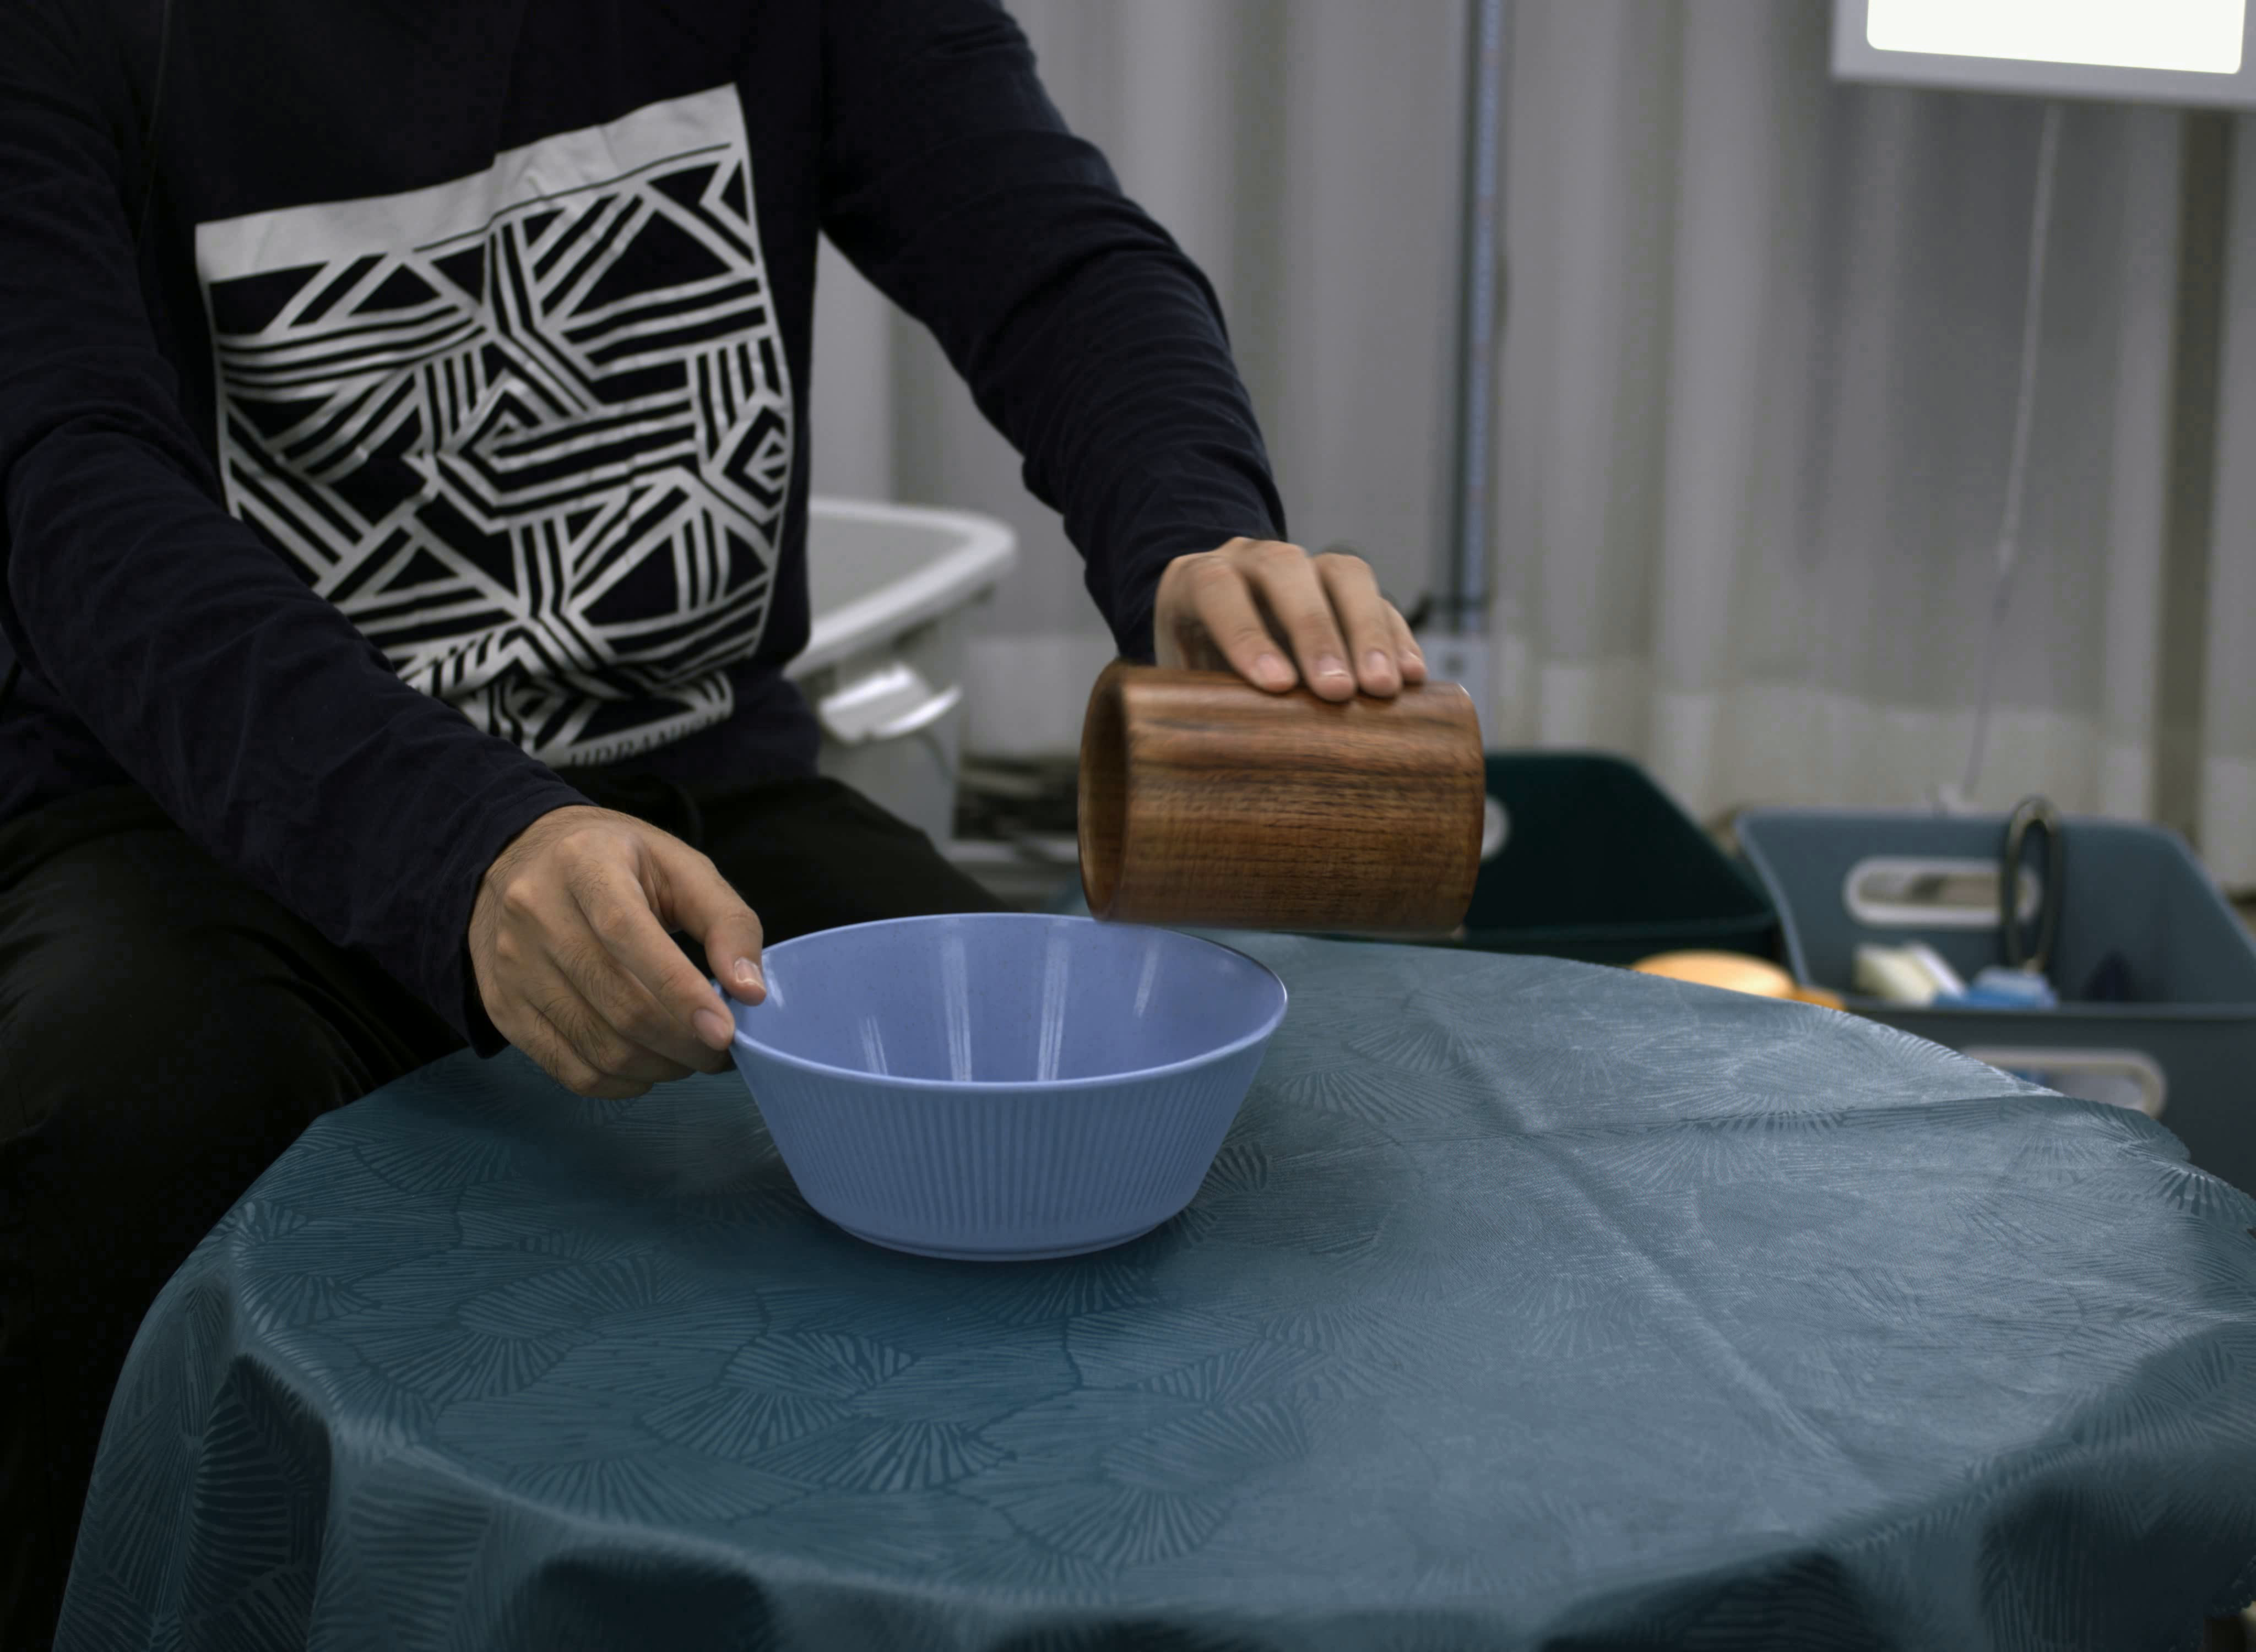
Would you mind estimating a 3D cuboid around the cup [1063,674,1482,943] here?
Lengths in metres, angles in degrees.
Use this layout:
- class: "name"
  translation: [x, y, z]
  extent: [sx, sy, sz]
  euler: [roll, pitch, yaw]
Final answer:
- class: "cup"
  translation: [0.043, -0.004, 1.621]
  extent: [0.118, 0.088, 0.087]
  euler: [1, 16, -10]

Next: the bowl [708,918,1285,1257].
- class: "bowl"
  translation: [-0.040, 0.082, 1.604]
  extent: [0.175, 0.071, 0.175]
  euler: [1, 15, 0]
